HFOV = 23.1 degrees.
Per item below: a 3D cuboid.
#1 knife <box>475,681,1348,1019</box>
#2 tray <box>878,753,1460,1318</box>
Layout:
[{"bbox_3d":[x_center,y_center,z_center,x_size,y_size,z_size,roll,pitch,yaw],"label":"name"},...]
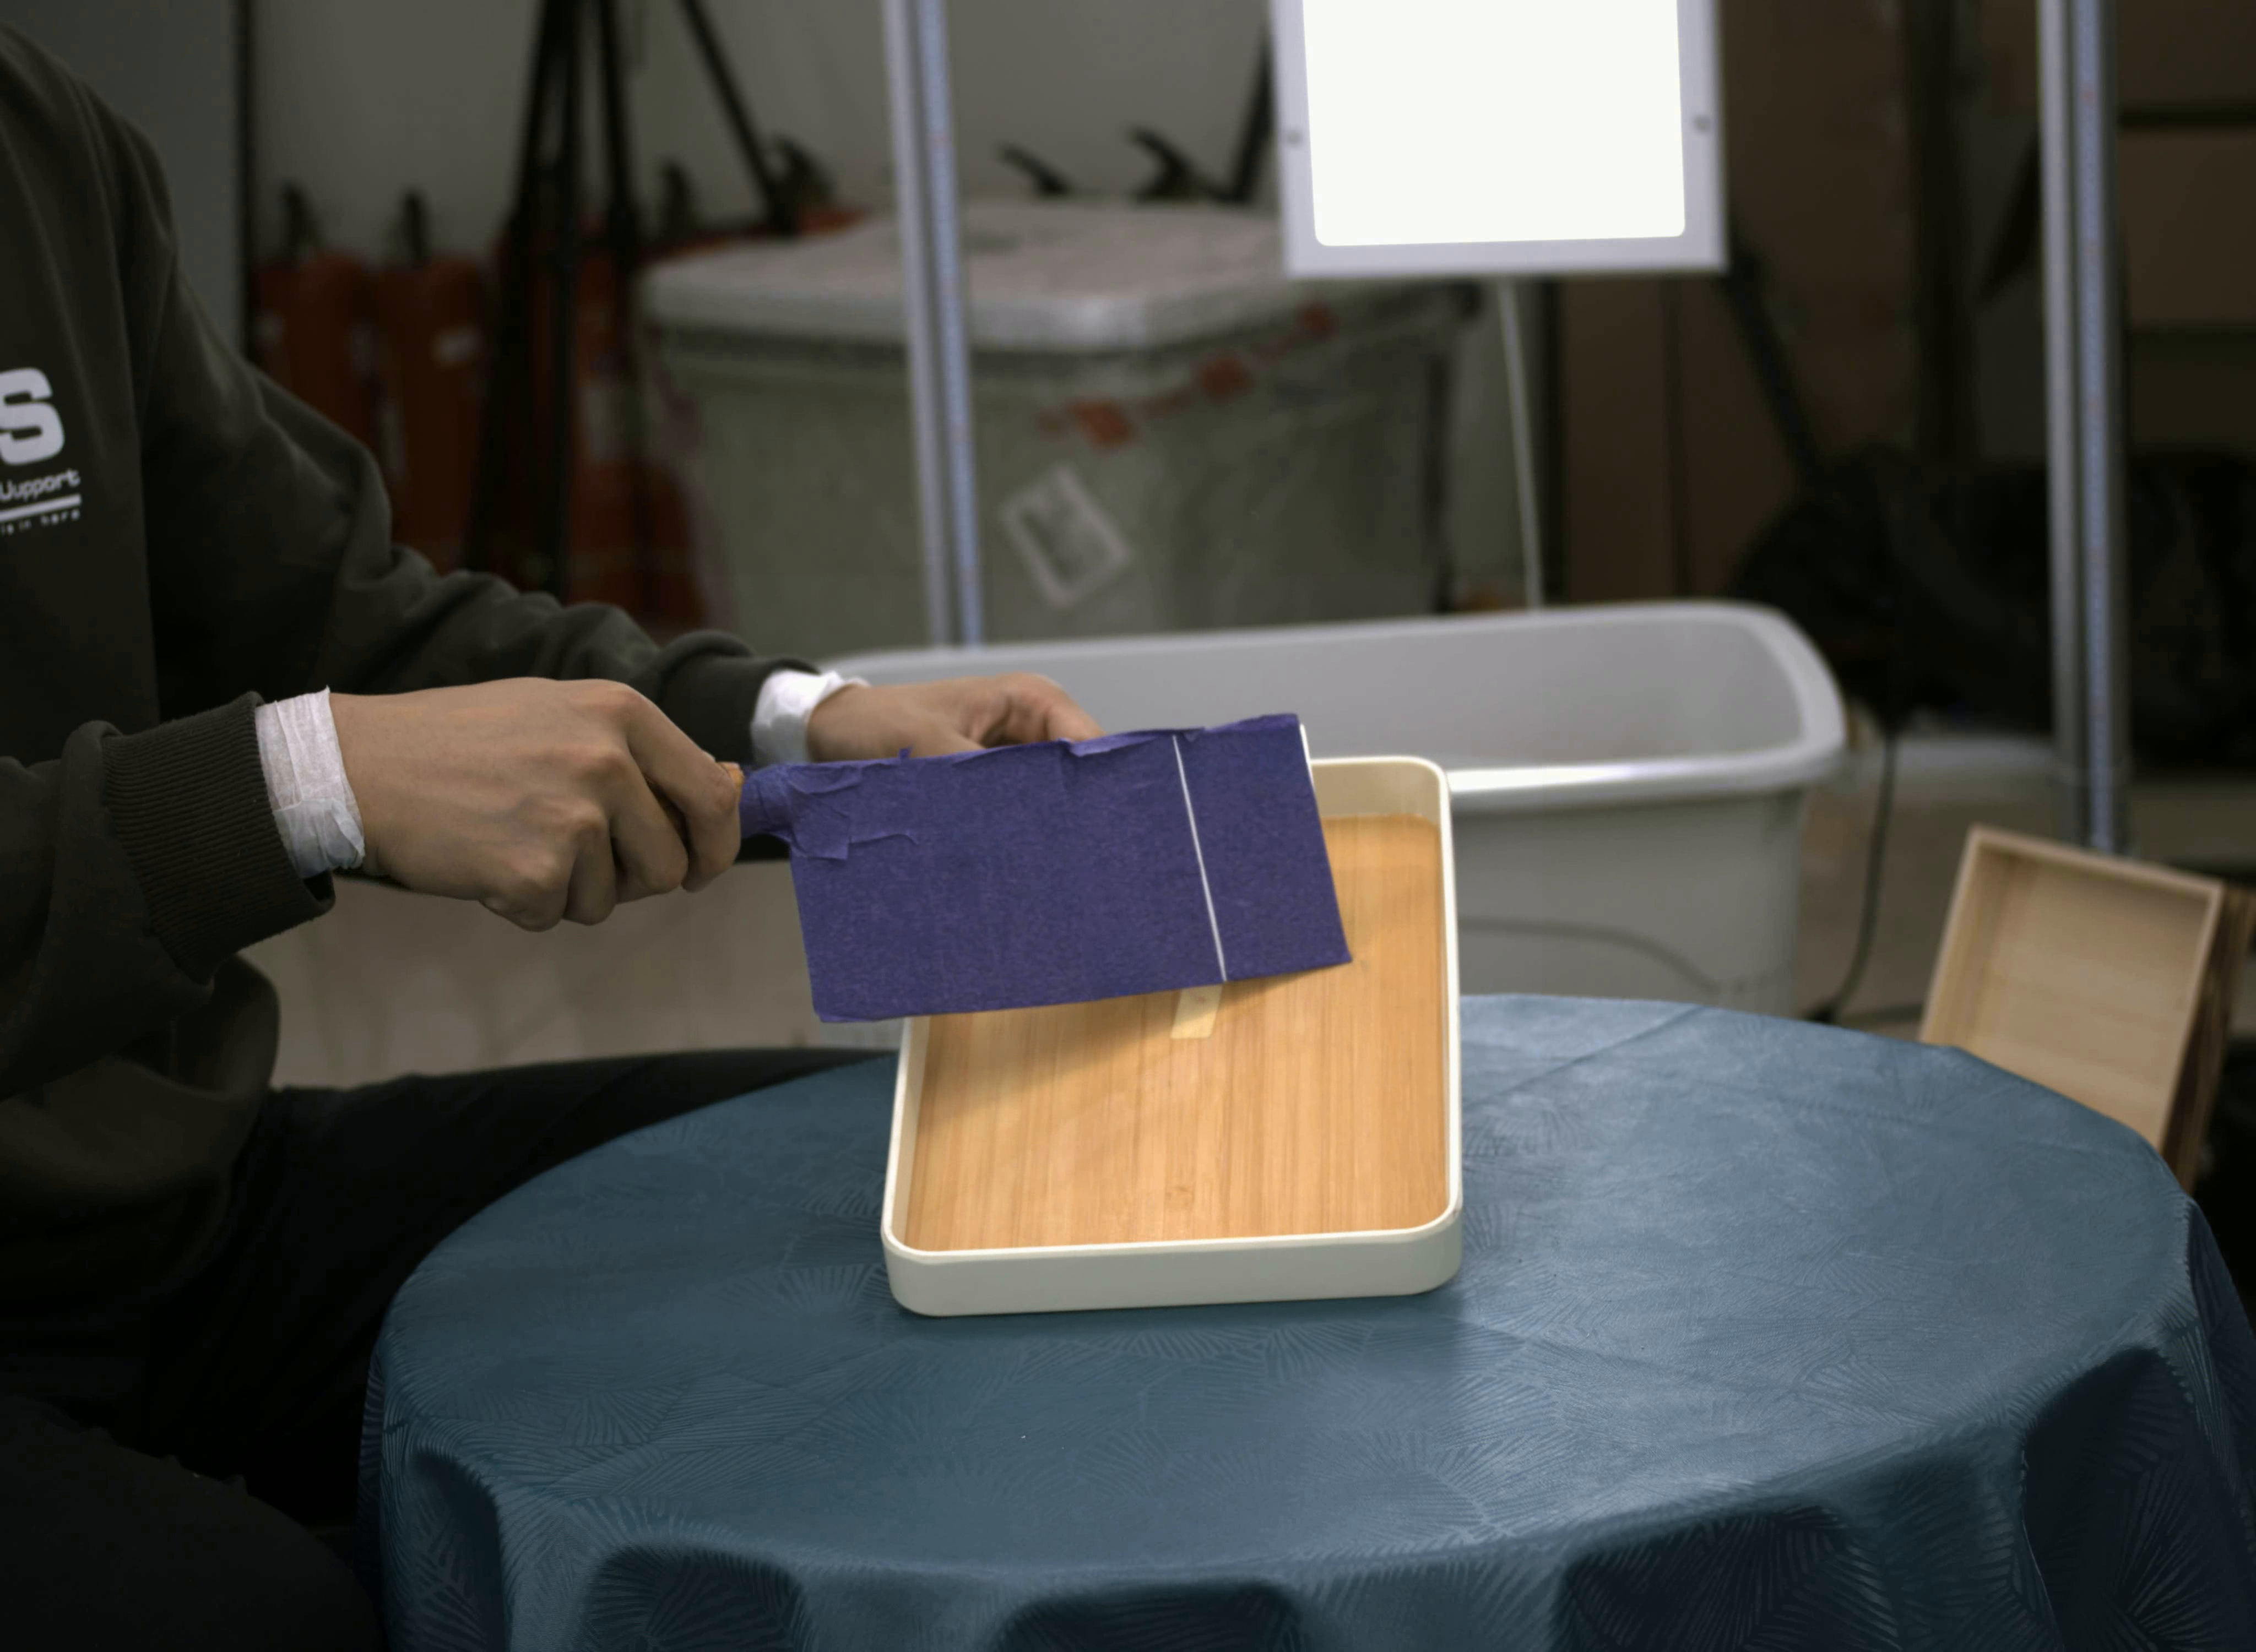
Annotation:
[{"bbox_3d":[-0.065,0.015,1.870,0.309,0.104,0.033,-8,-11,-23],"label":"knife"},{"bbox_3d":[0.018,0.067,1.898,0.192,0.027,0.298,-4,32,6],"label":"tray"}]
